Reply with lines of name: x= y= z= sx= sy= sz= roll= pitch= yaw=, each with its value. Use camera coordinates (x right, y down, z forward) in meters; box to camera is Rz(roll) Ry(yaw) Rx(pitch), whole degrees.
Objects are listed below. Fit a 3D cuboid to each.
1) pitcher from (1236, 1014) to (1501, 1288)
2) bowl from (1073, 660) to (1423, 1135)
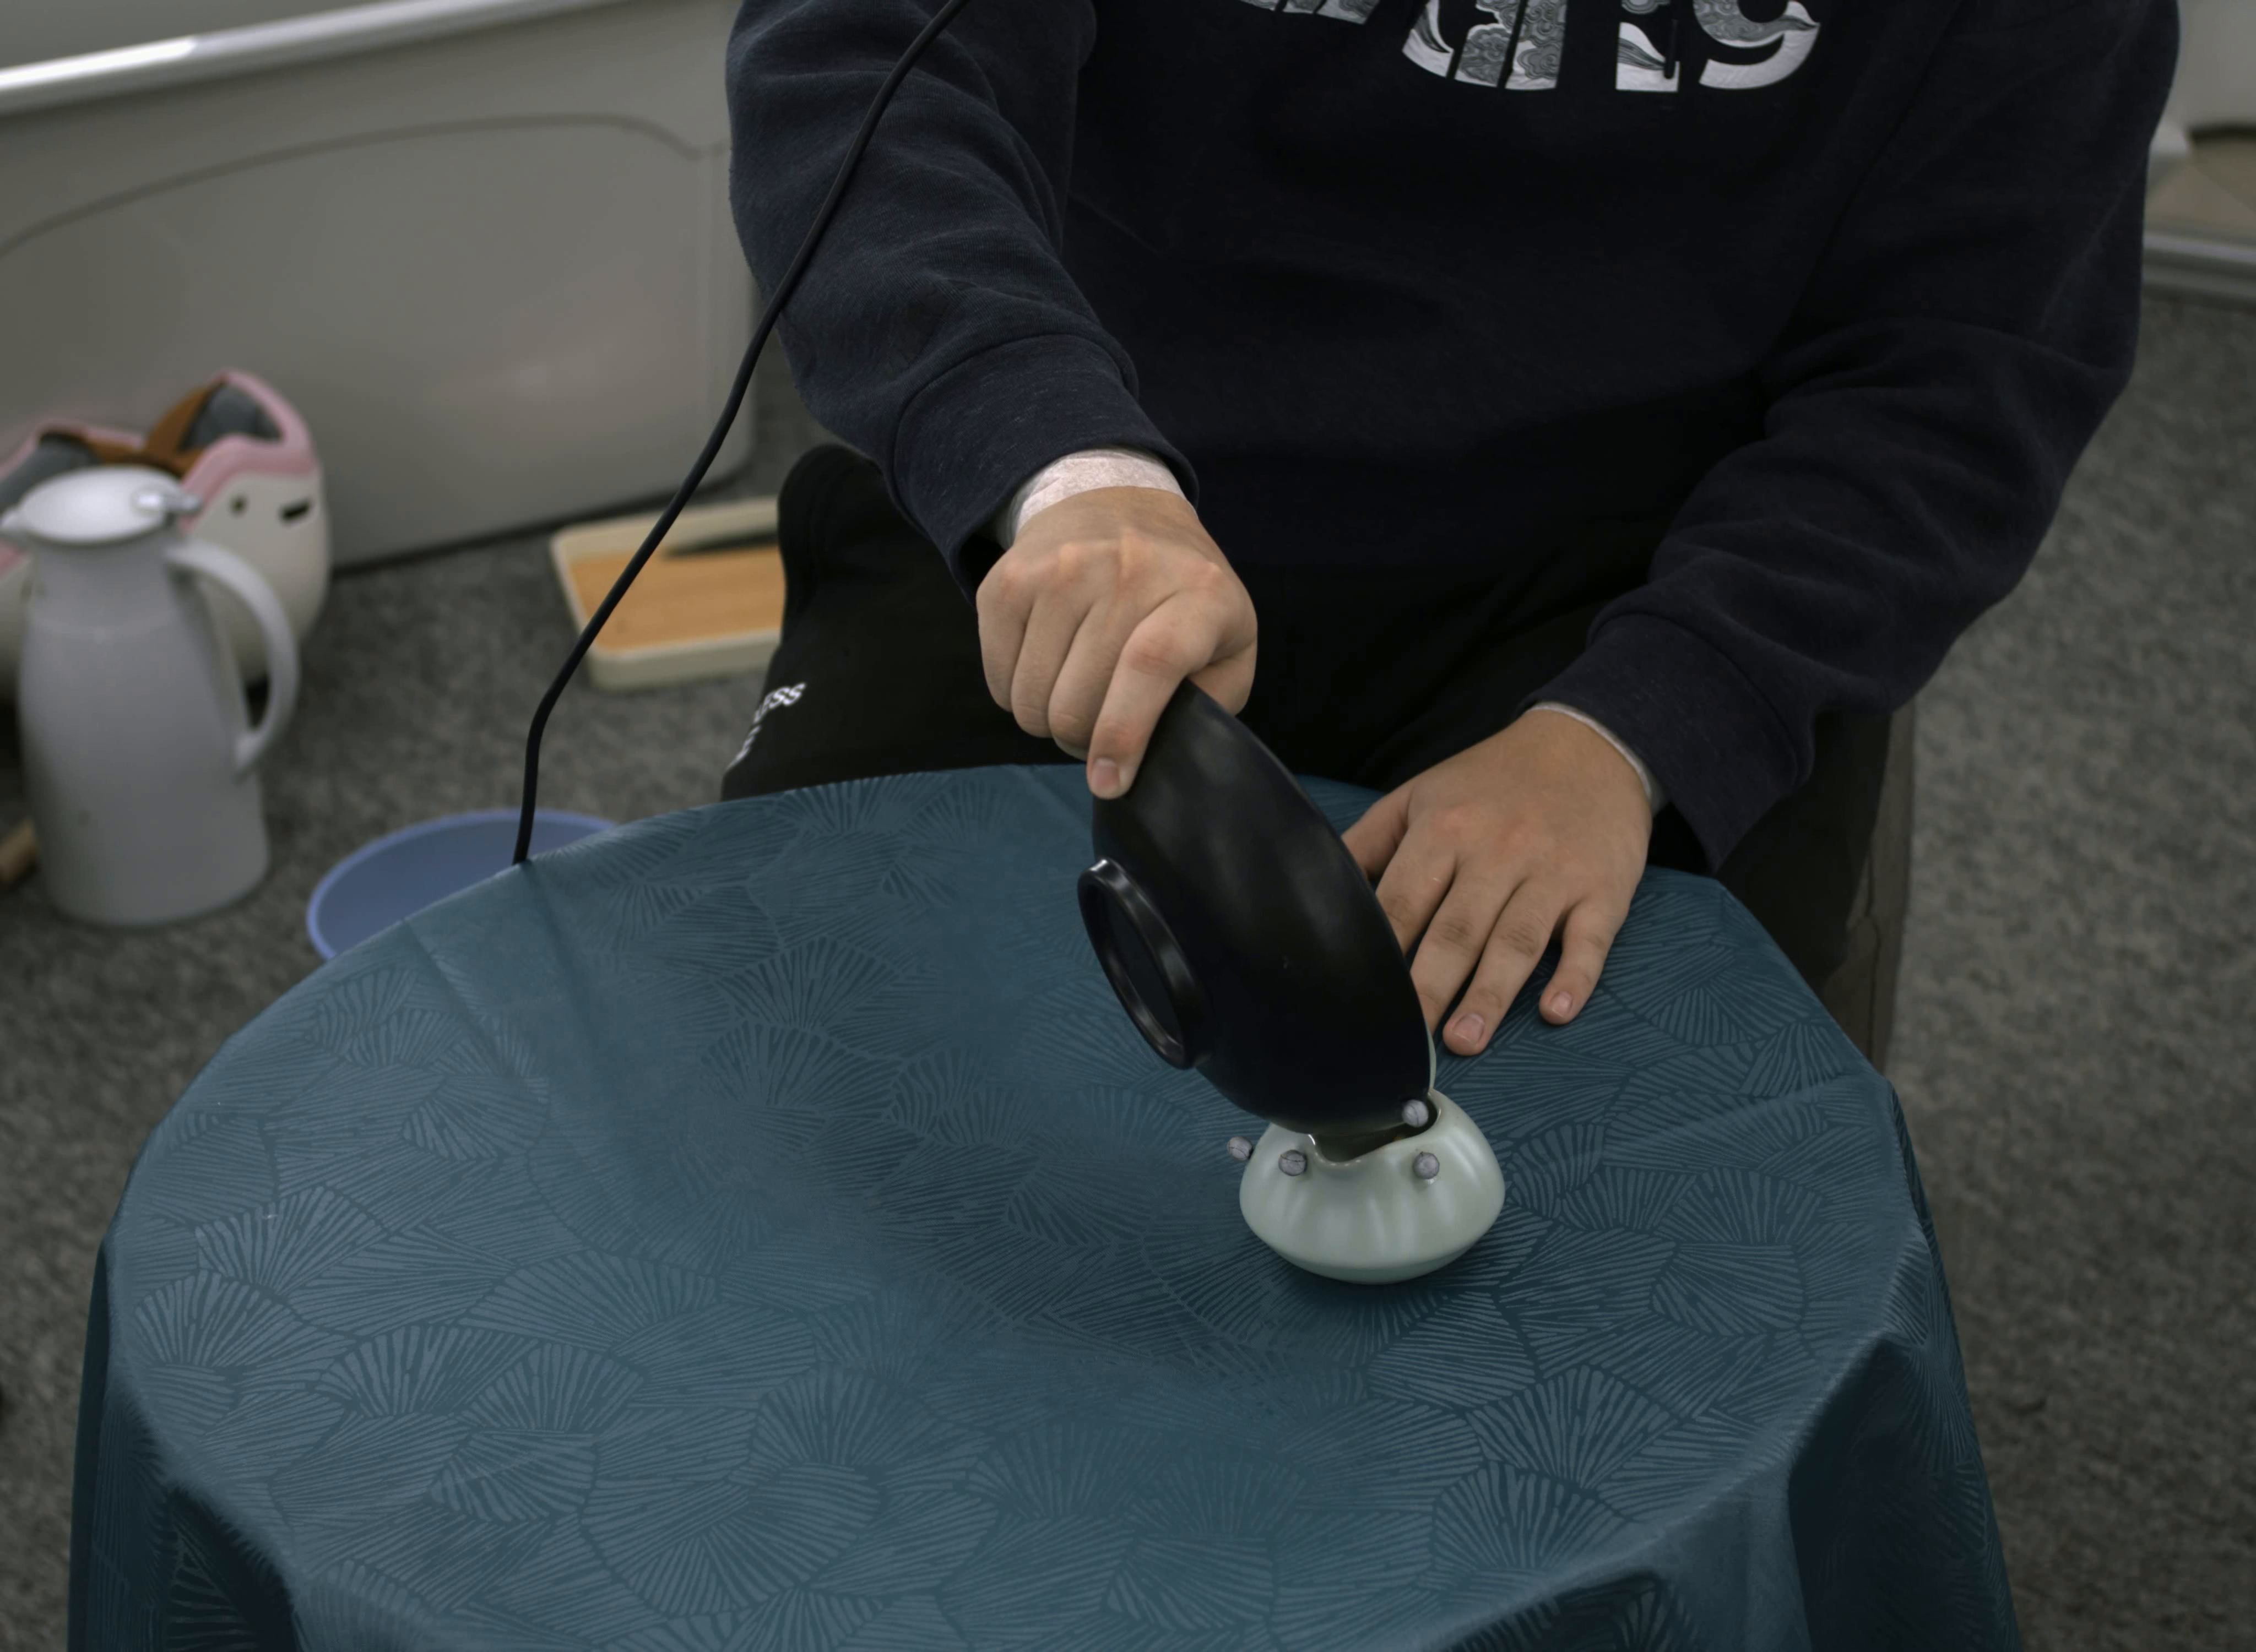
pitcher: x=0.080 y=0.107 z=1.827 sx=0.085 sy=0.060 sz=0.110 roll=6 pitch=27 yaw=14
bowl: x=0.028 y=0.032 z=1.749 sx=0.067 sy=0.169 sz=0.138 roll=-28 pitch=28 yaw=-14
